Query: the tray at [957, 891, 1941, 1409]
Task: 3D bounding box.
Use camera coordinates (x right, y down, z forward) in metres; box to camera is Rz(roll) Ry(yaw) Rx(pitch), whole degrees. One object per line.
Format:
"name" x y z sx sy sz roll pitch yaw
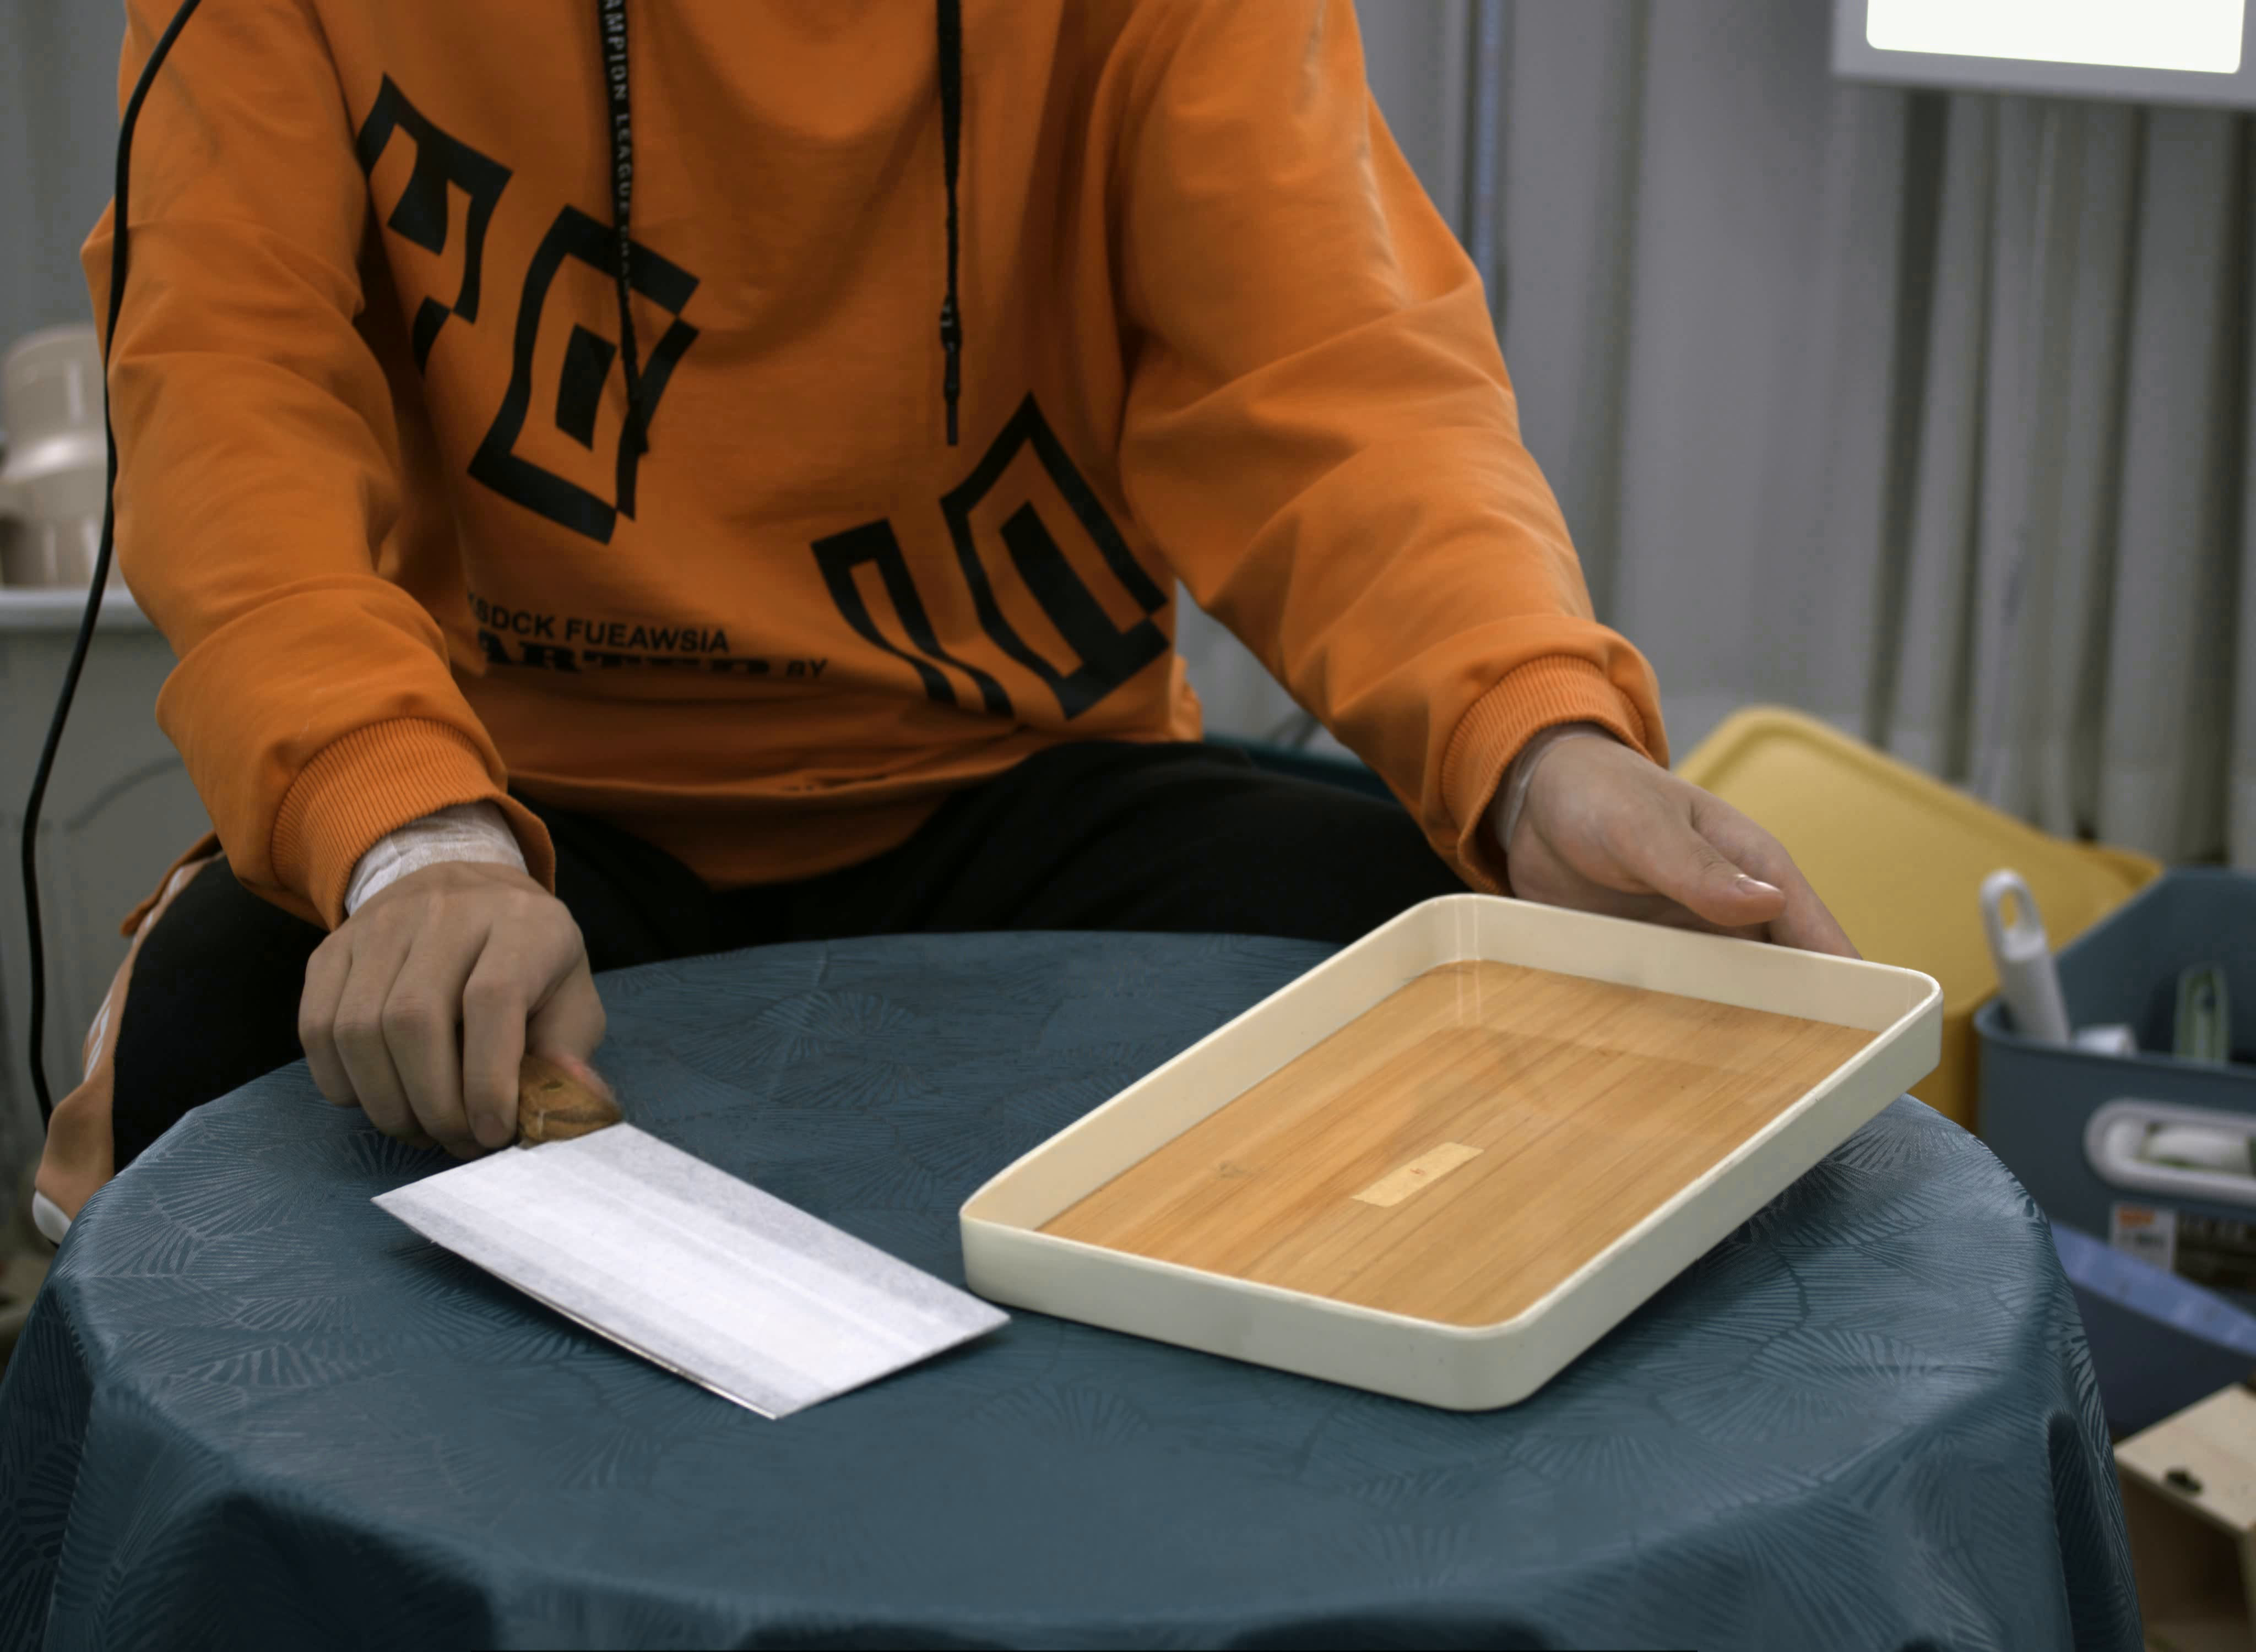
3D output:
"tray" 0.104 0.092 1.599 0.189 0.027 0.301 10 24 31

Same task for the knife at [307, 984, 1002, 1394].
"knife" -0.167 0.109 1.570 0.093 0.021 0.301 -21 30 -39
